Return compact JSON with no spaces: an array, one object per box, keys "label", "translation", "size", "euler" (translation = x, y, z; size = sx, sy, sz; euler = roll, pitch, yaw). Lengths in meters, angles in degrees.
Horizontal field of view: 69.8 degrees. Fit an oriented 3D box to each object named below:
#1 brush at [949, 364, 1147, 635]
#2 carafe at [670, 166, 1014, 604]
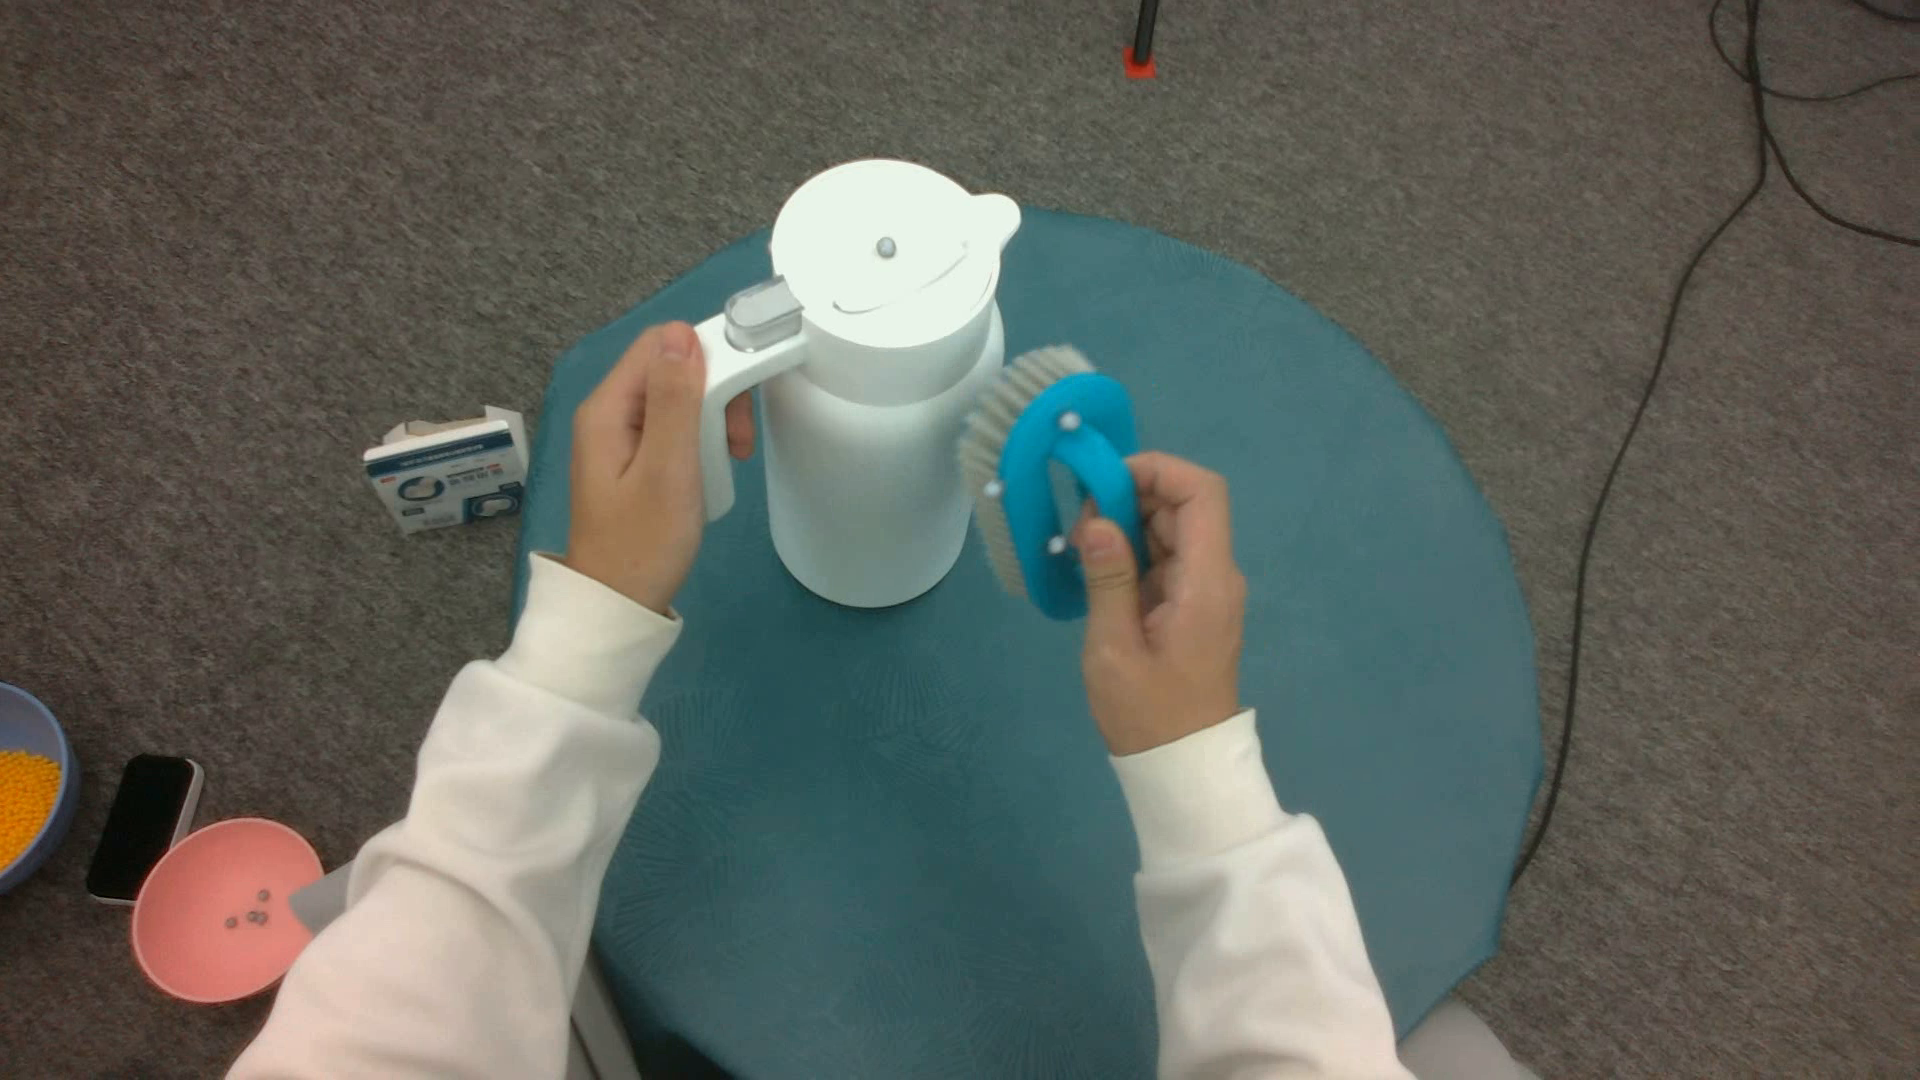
[{"label":"brush","translation":[0.051,-0.013,0.625],"size":[0.064,0.141,0.084],"euler":[28,62,36]},{"label":"carafe","translation":[-0.056,-0.059,0.711],"size":[0.173,0.268,0.124],"euler":[-30,72,-17]}]
